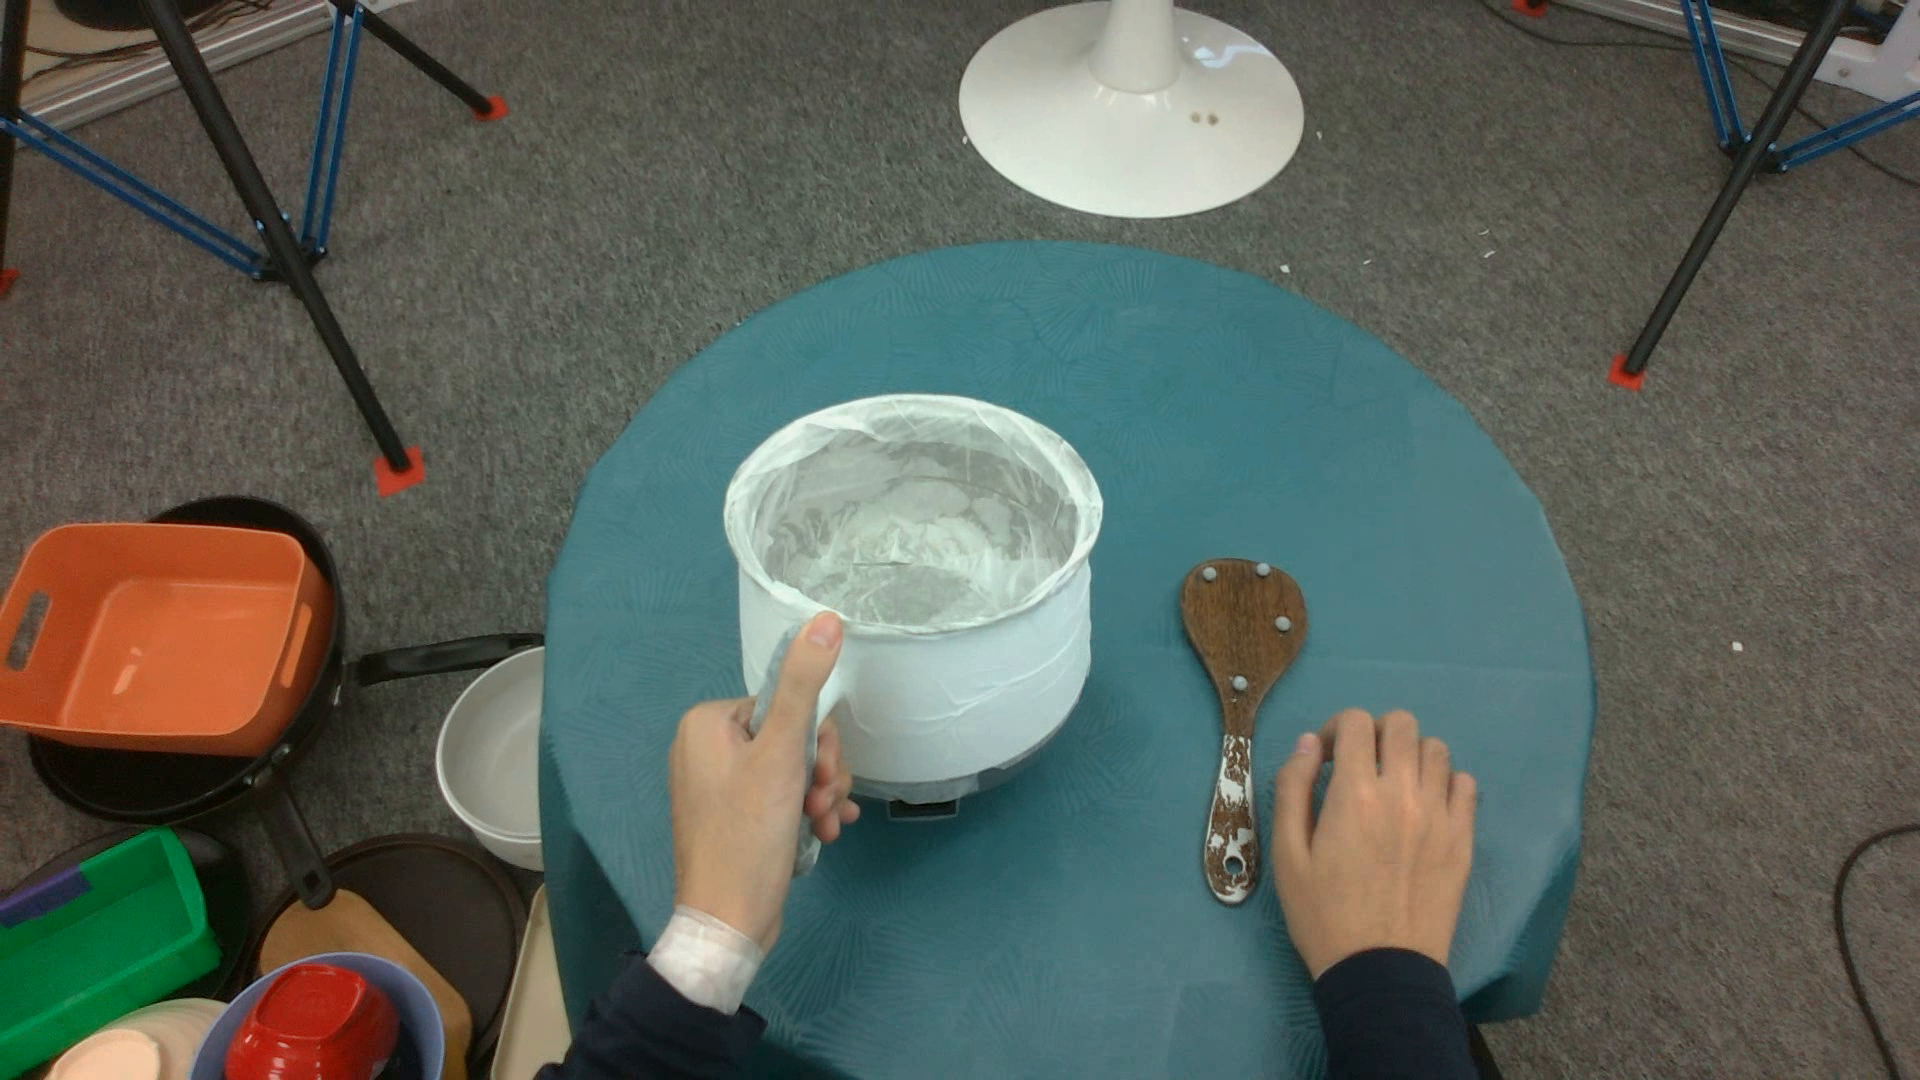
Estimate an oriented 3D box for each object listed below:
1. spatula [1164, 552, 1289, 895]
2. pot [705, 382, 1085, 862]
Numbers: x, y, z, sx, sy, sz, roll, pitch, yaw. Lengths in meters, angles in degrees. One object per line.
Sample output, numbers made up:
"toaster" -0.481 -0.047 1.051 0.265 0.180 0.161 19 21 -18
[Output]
"spatula" 0.142 0.092 0.755 0.072 0.009 0.217 8 54 5
"pot" -0.042 0.039 0.662 0.178 0.136 0.235 16 41 18
